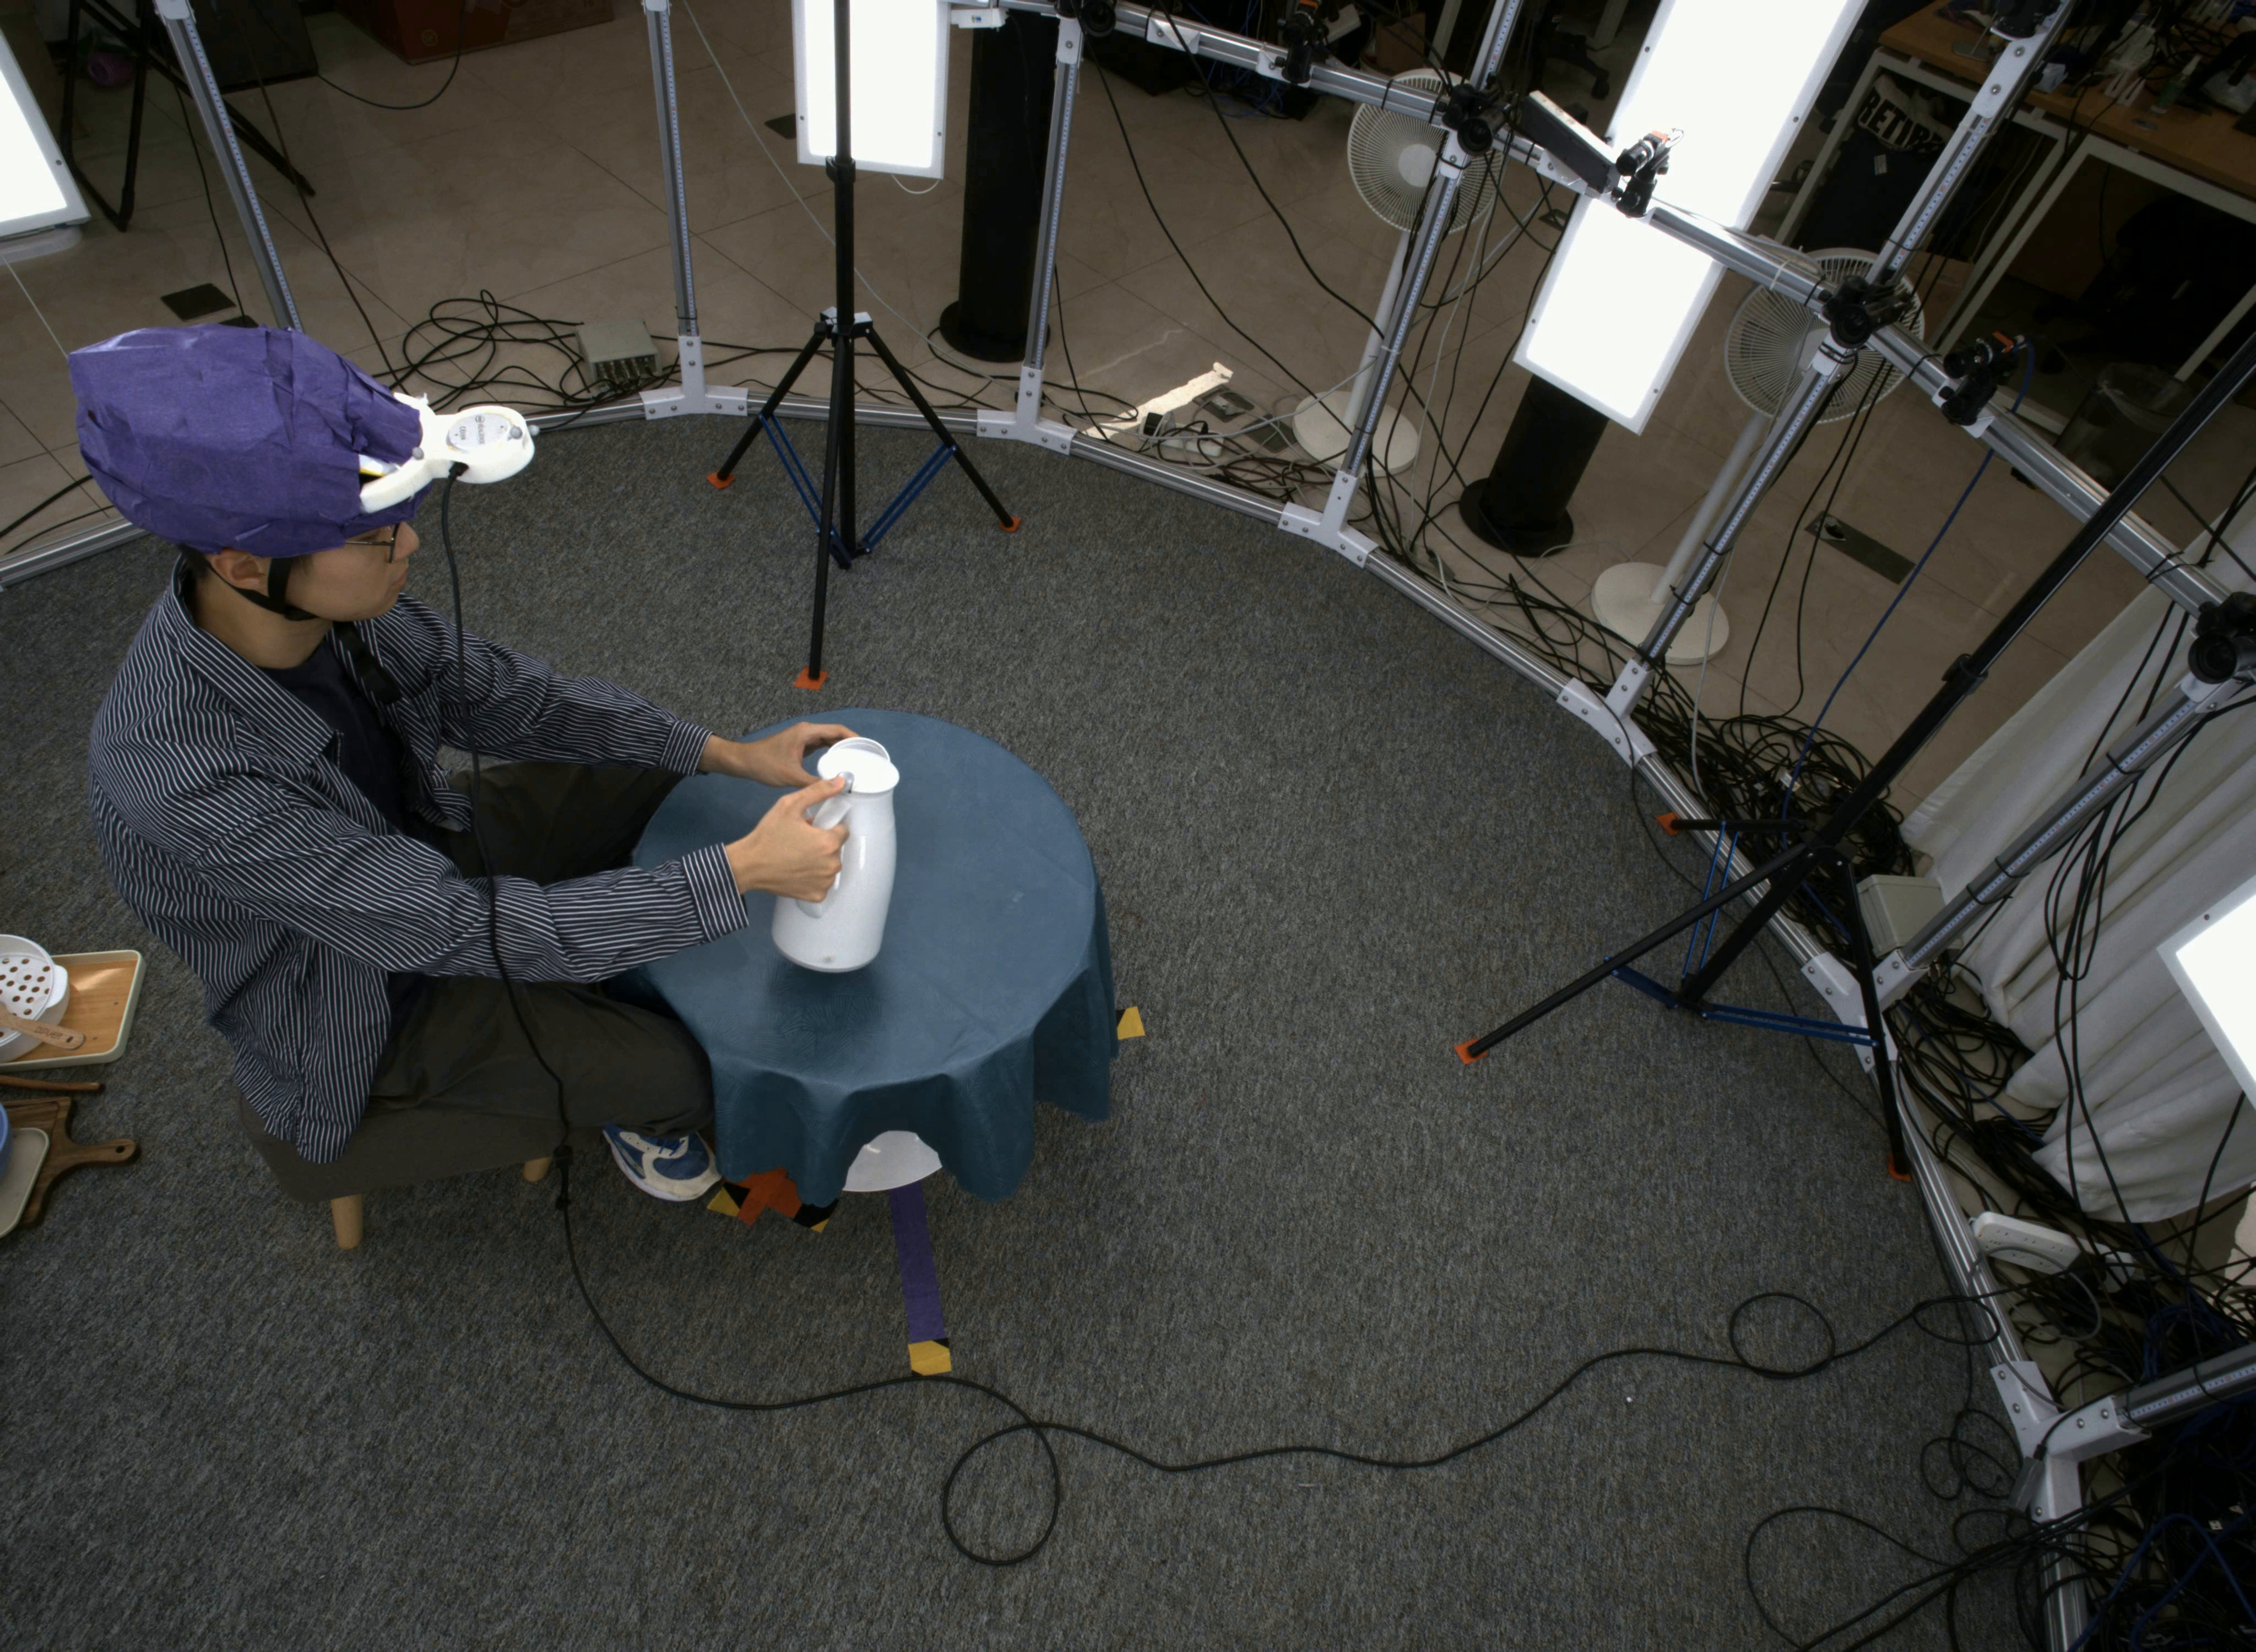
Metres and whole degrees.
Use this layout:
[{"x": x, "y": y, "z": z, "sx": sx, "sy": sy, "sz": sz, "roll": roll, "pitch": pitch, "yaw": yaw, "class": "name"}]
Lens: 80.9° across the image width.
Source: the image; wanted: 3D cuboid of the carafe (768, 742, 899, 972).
[{"x": -0.334, "y": 0.037, "z": 1.488, "sx": 0.131, "sy": 0.254, "sz": 0.165, "roll": 19, "pitch": 27, "yaw": -1, "class": "carafe"}]

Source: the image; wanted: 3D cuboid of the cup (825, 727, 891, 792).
[{"x": -0.343, "y": -0.055, "z": 1.664, "sx": 0.081, "sy": 0.128, "sz": 0.080, "roll": 5, "pitch": 53, "yaw": -5, "class": "cup"}]
